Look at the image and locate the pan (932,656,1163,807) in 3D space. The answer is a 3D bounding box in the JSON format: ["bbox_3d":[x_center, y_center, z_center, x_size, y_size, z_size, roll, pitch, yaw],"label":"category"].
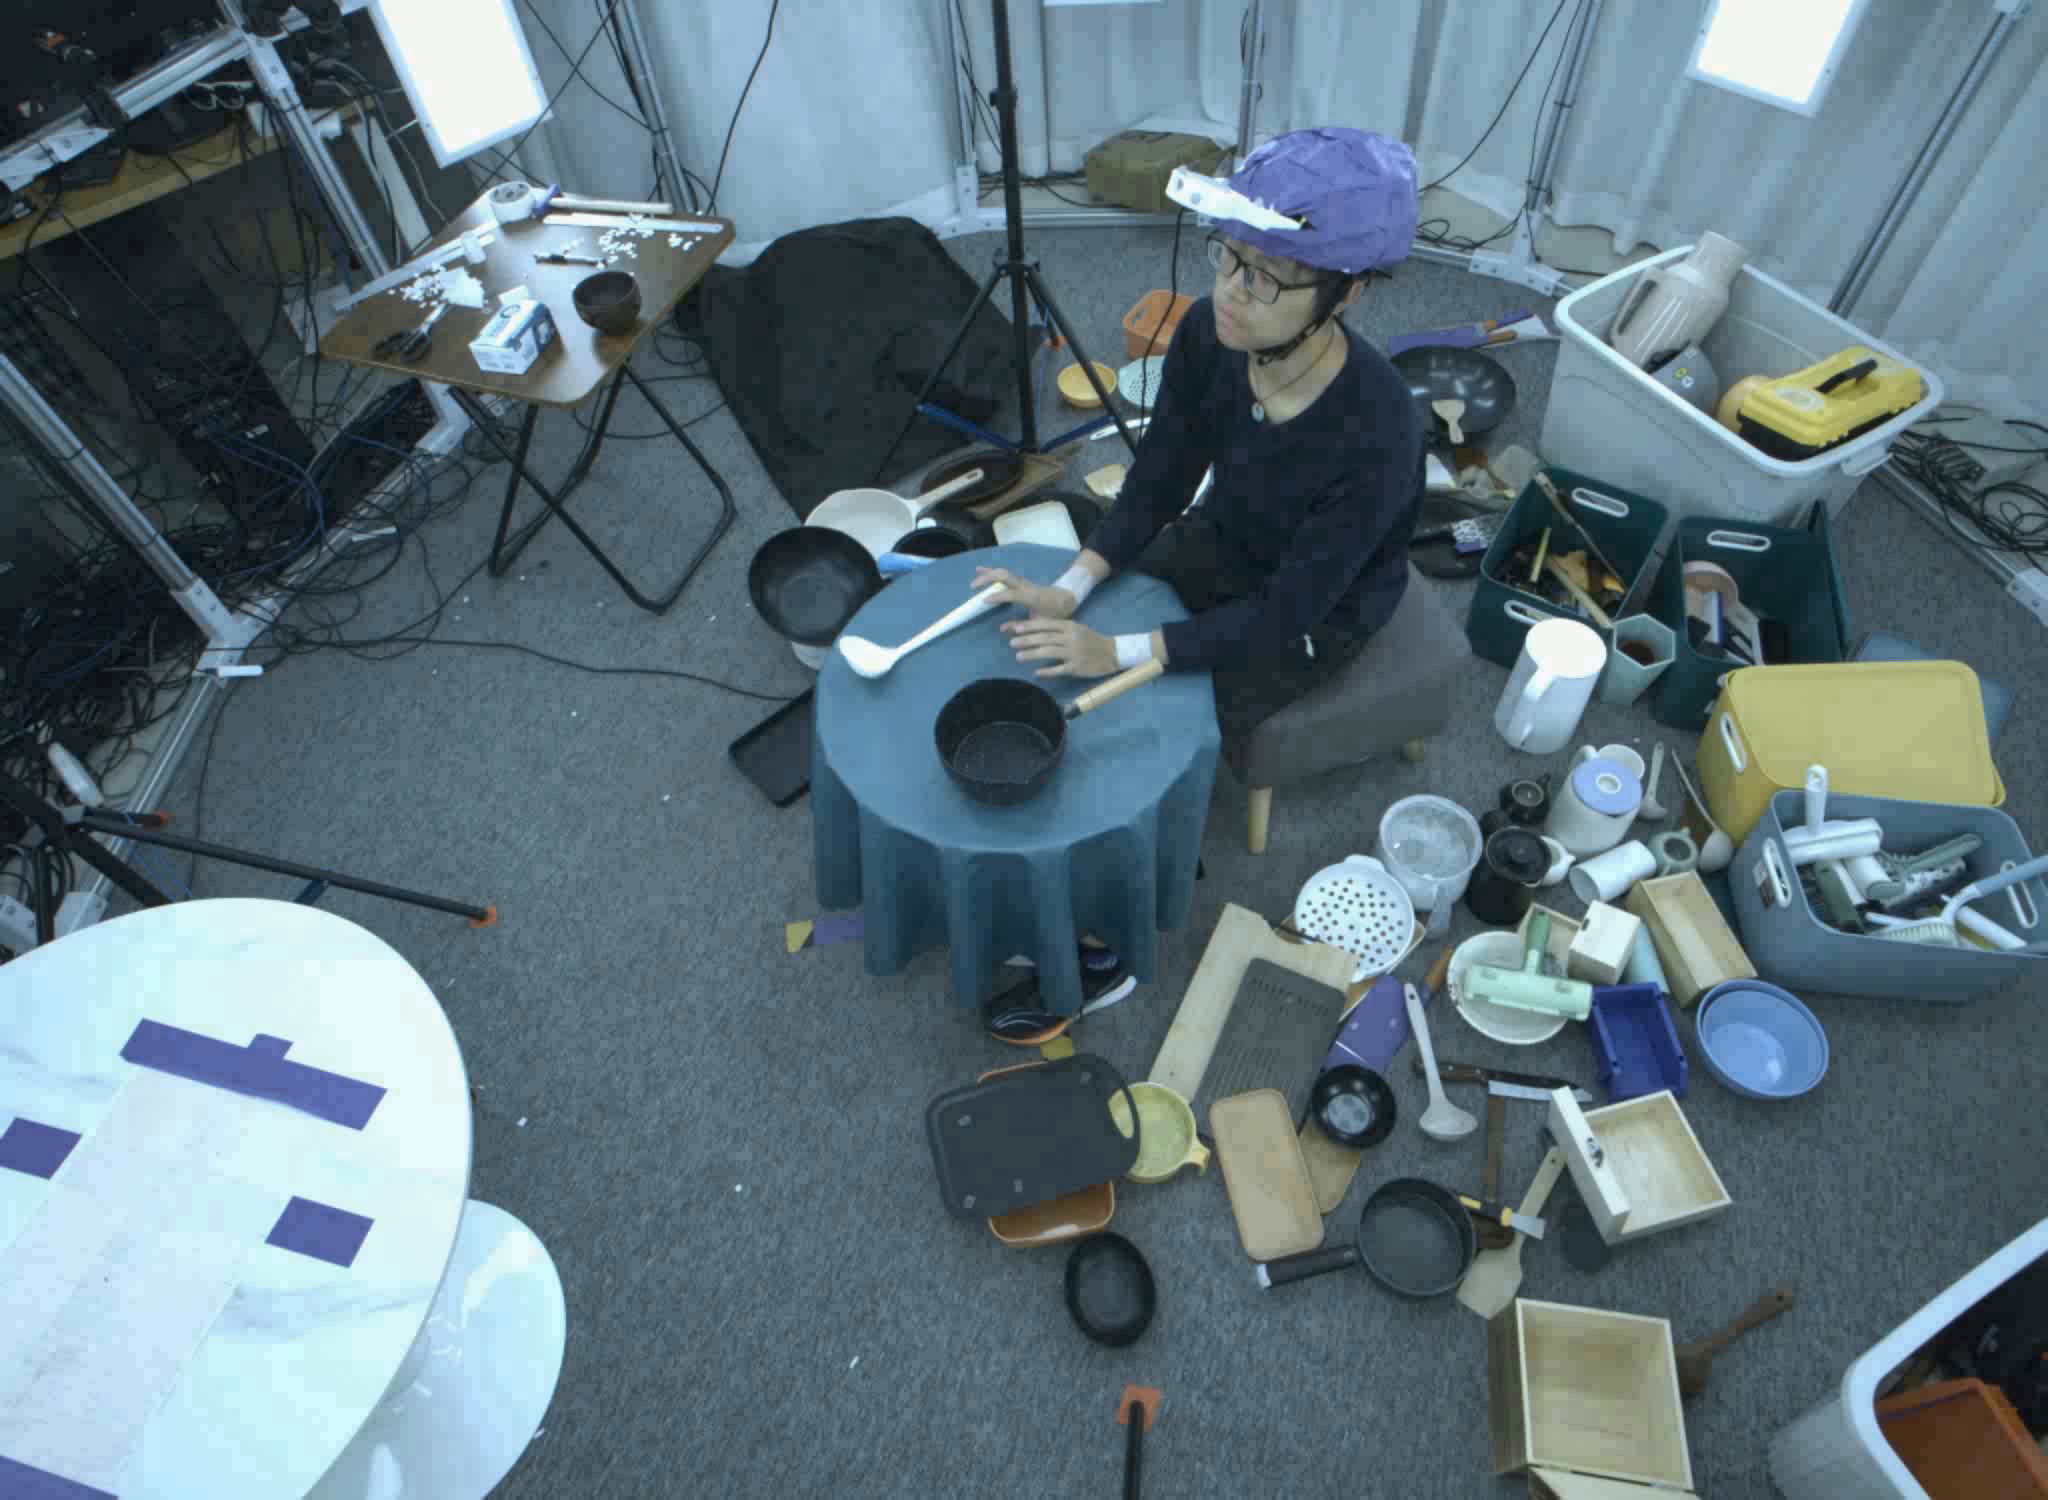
[{"bbox_3d":[0.040,-0.041,1.748,0.345,0.109,0.203,-22,56,-11],"label":"pan"}]

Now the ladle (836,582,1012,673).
[{"bbox_3d":[-0.151,-0.199,1.894,0.295,0.071,0.088,-29,51,-18],"label":"ladle"}]
